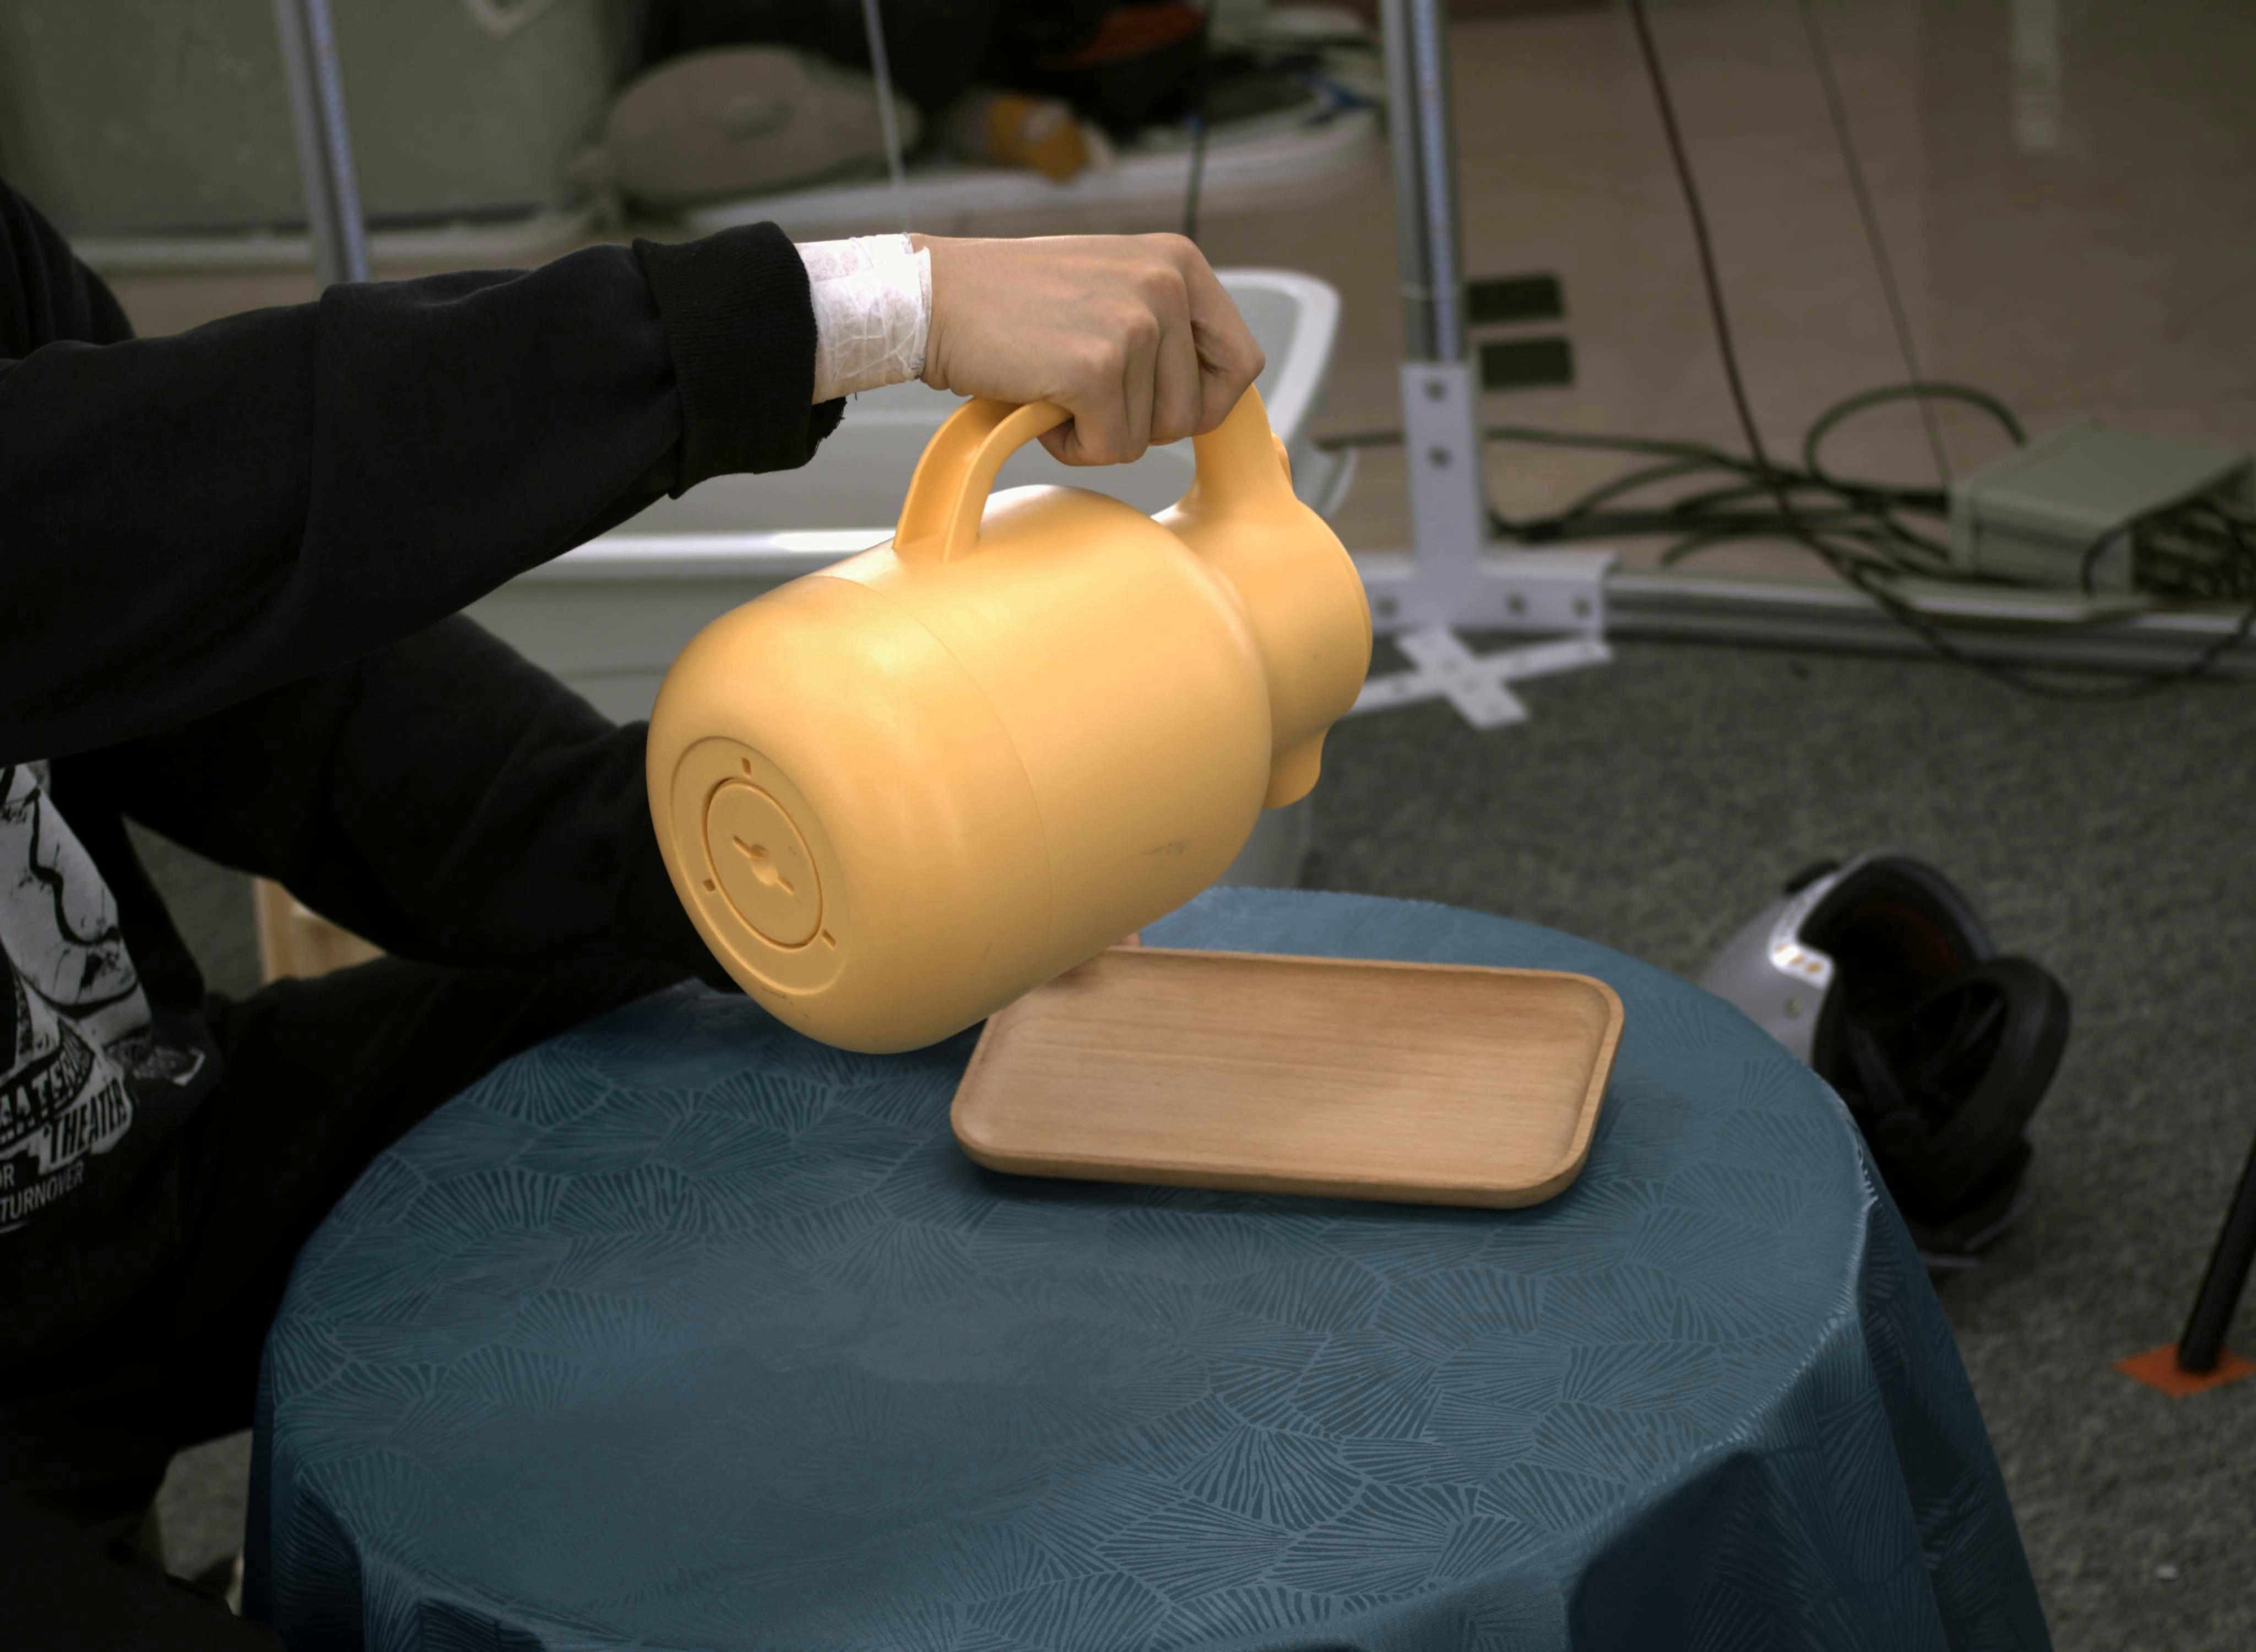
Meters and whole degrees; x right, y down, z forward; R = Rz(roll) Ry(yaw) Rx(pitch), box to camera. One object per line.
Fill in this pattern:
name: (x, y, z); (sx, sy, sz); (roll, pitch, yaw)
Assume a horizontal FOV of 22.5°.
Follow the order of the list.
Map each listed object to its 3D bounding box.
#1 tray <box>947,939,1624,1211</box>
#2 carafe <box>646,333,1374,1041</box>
tray: (0.060, 0.095, 2.173); (0.250, 0.023, 0.128); (3, 38, 19)
carafe: (-0.035, -0.056, 1.968); (0.258, 0.205, 0.162); (-26, 29, -37)
